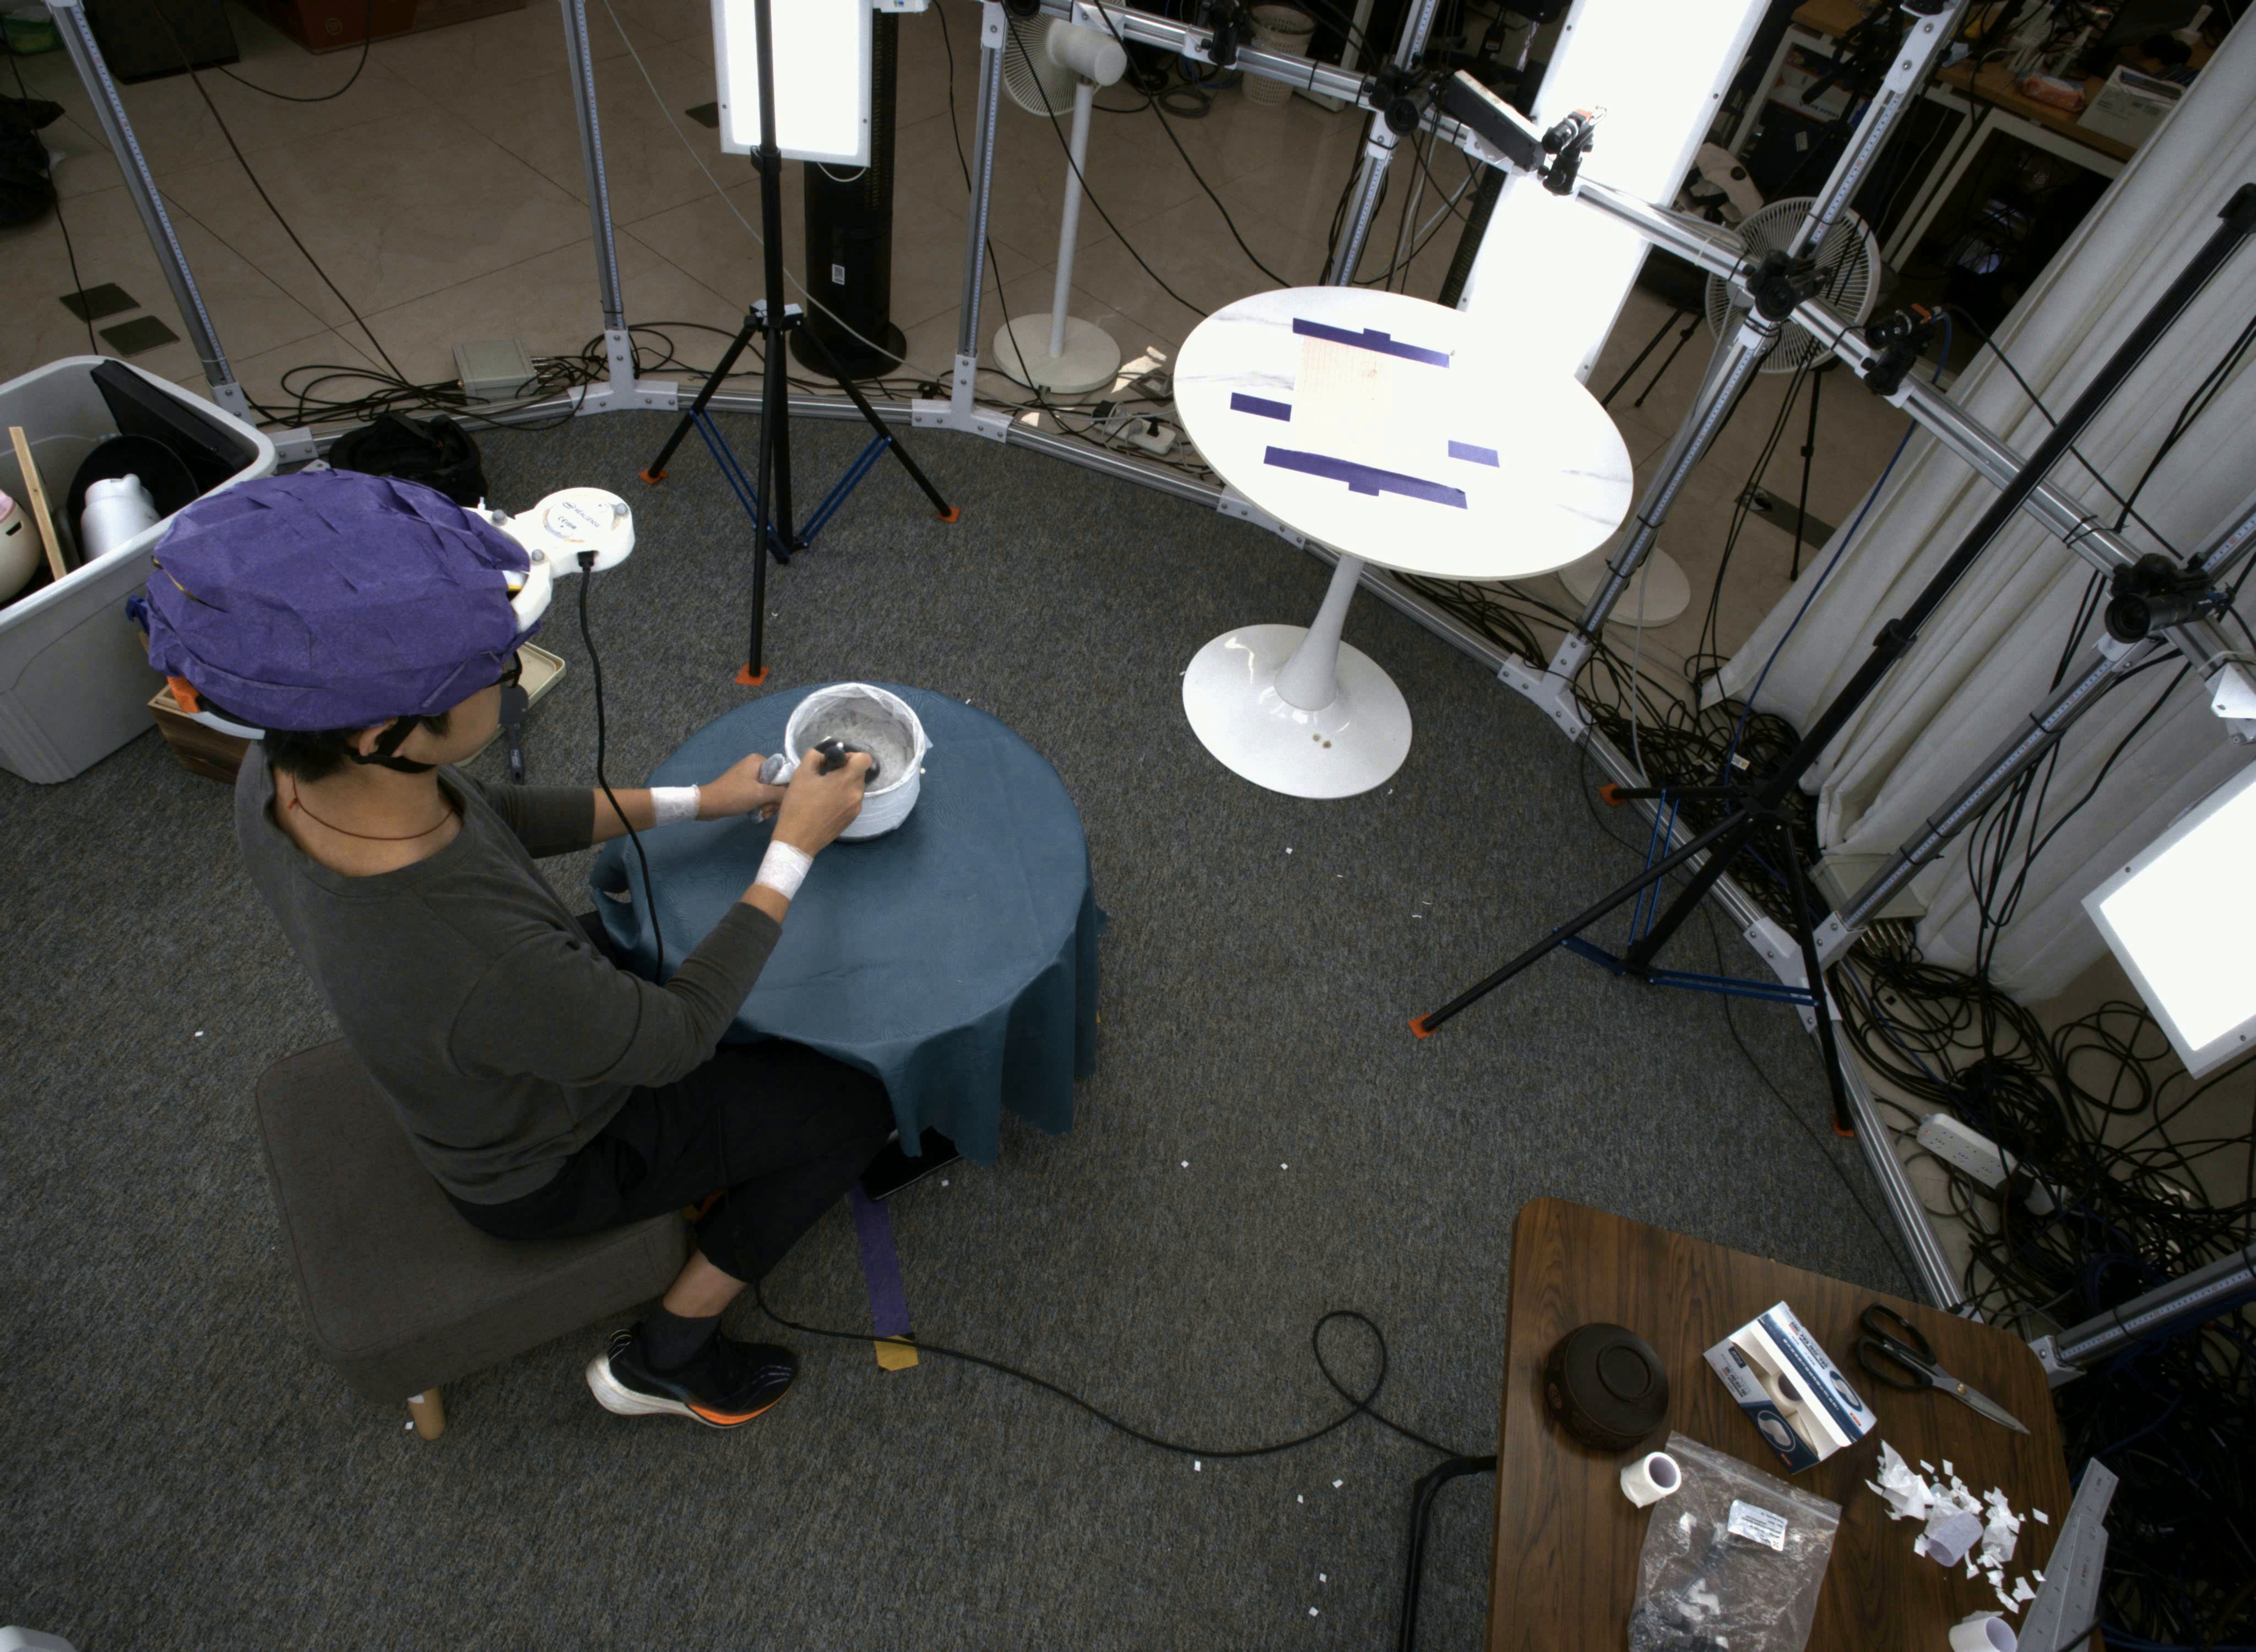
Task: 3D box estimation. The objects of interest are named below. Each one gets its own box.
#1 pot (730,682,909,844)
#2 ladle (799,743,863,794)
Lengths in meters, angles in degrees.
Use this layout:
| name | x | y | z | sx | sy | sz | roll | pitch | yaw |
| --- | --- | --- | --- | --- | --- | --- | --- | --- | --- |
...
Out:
| name | x | y | z | sx | sy | sz | roll | pitch | yaw |
| --- | --- | --- | --- | --- | --- | --- | --- | --- | --- |
| pot | -0.406 | -0.069 | 1.697 | 0.235 | 0.138 | 0.175 | -20 | 66 | -25 |
| ladle | -0.362 | -0.086 | 1.557 | 0.086 | 0.312 | 0.064 | 23 | 79 | -8 |
